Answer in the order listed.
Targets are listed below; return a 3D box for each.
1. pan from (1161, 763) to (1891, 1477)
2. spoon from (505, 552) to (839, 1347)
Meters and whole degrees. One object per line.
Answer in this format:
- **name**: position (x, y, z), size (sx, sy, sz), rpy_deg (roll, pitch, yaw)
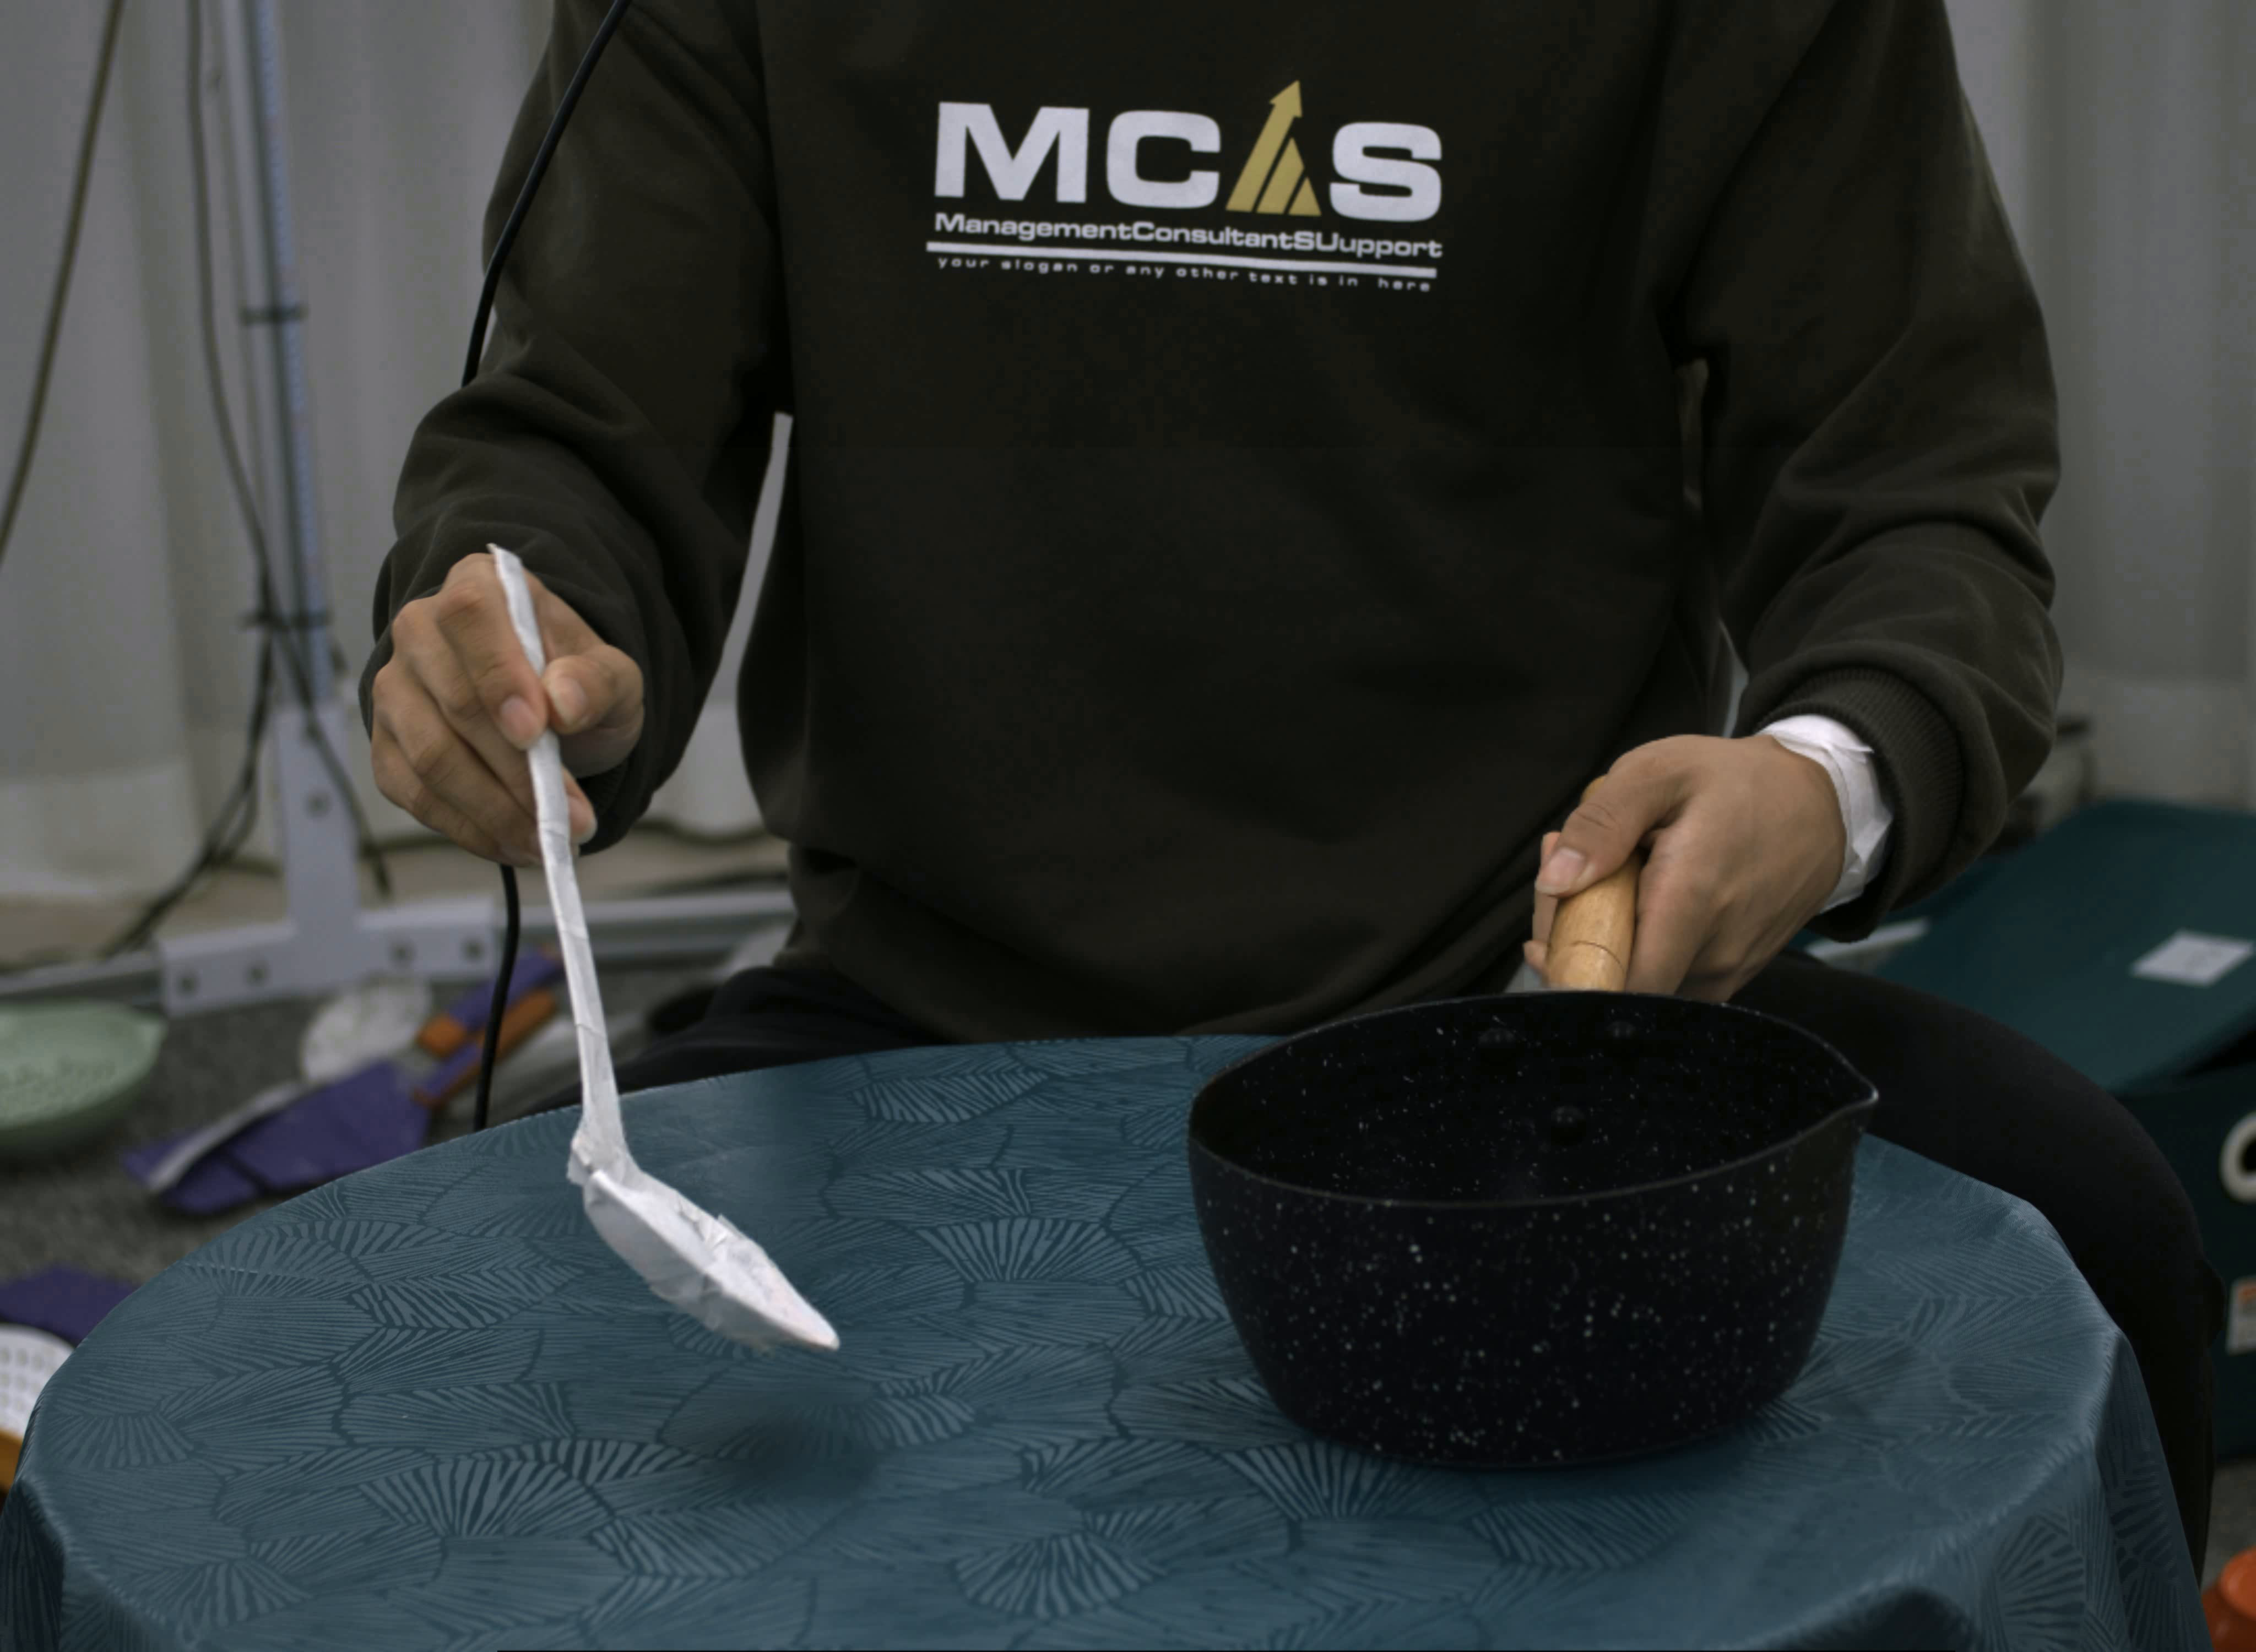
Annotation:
- **pan**: position (0.125, 0.081, 1.599), size (0.207, 0.108, 0.345), rpy_deg (-3, 16, 12)
- **spoon**: position (-0.133, 0.030, 1.557), size (0.059, 0.281, 0.099), rpy_deg (-23, -33, 19)
